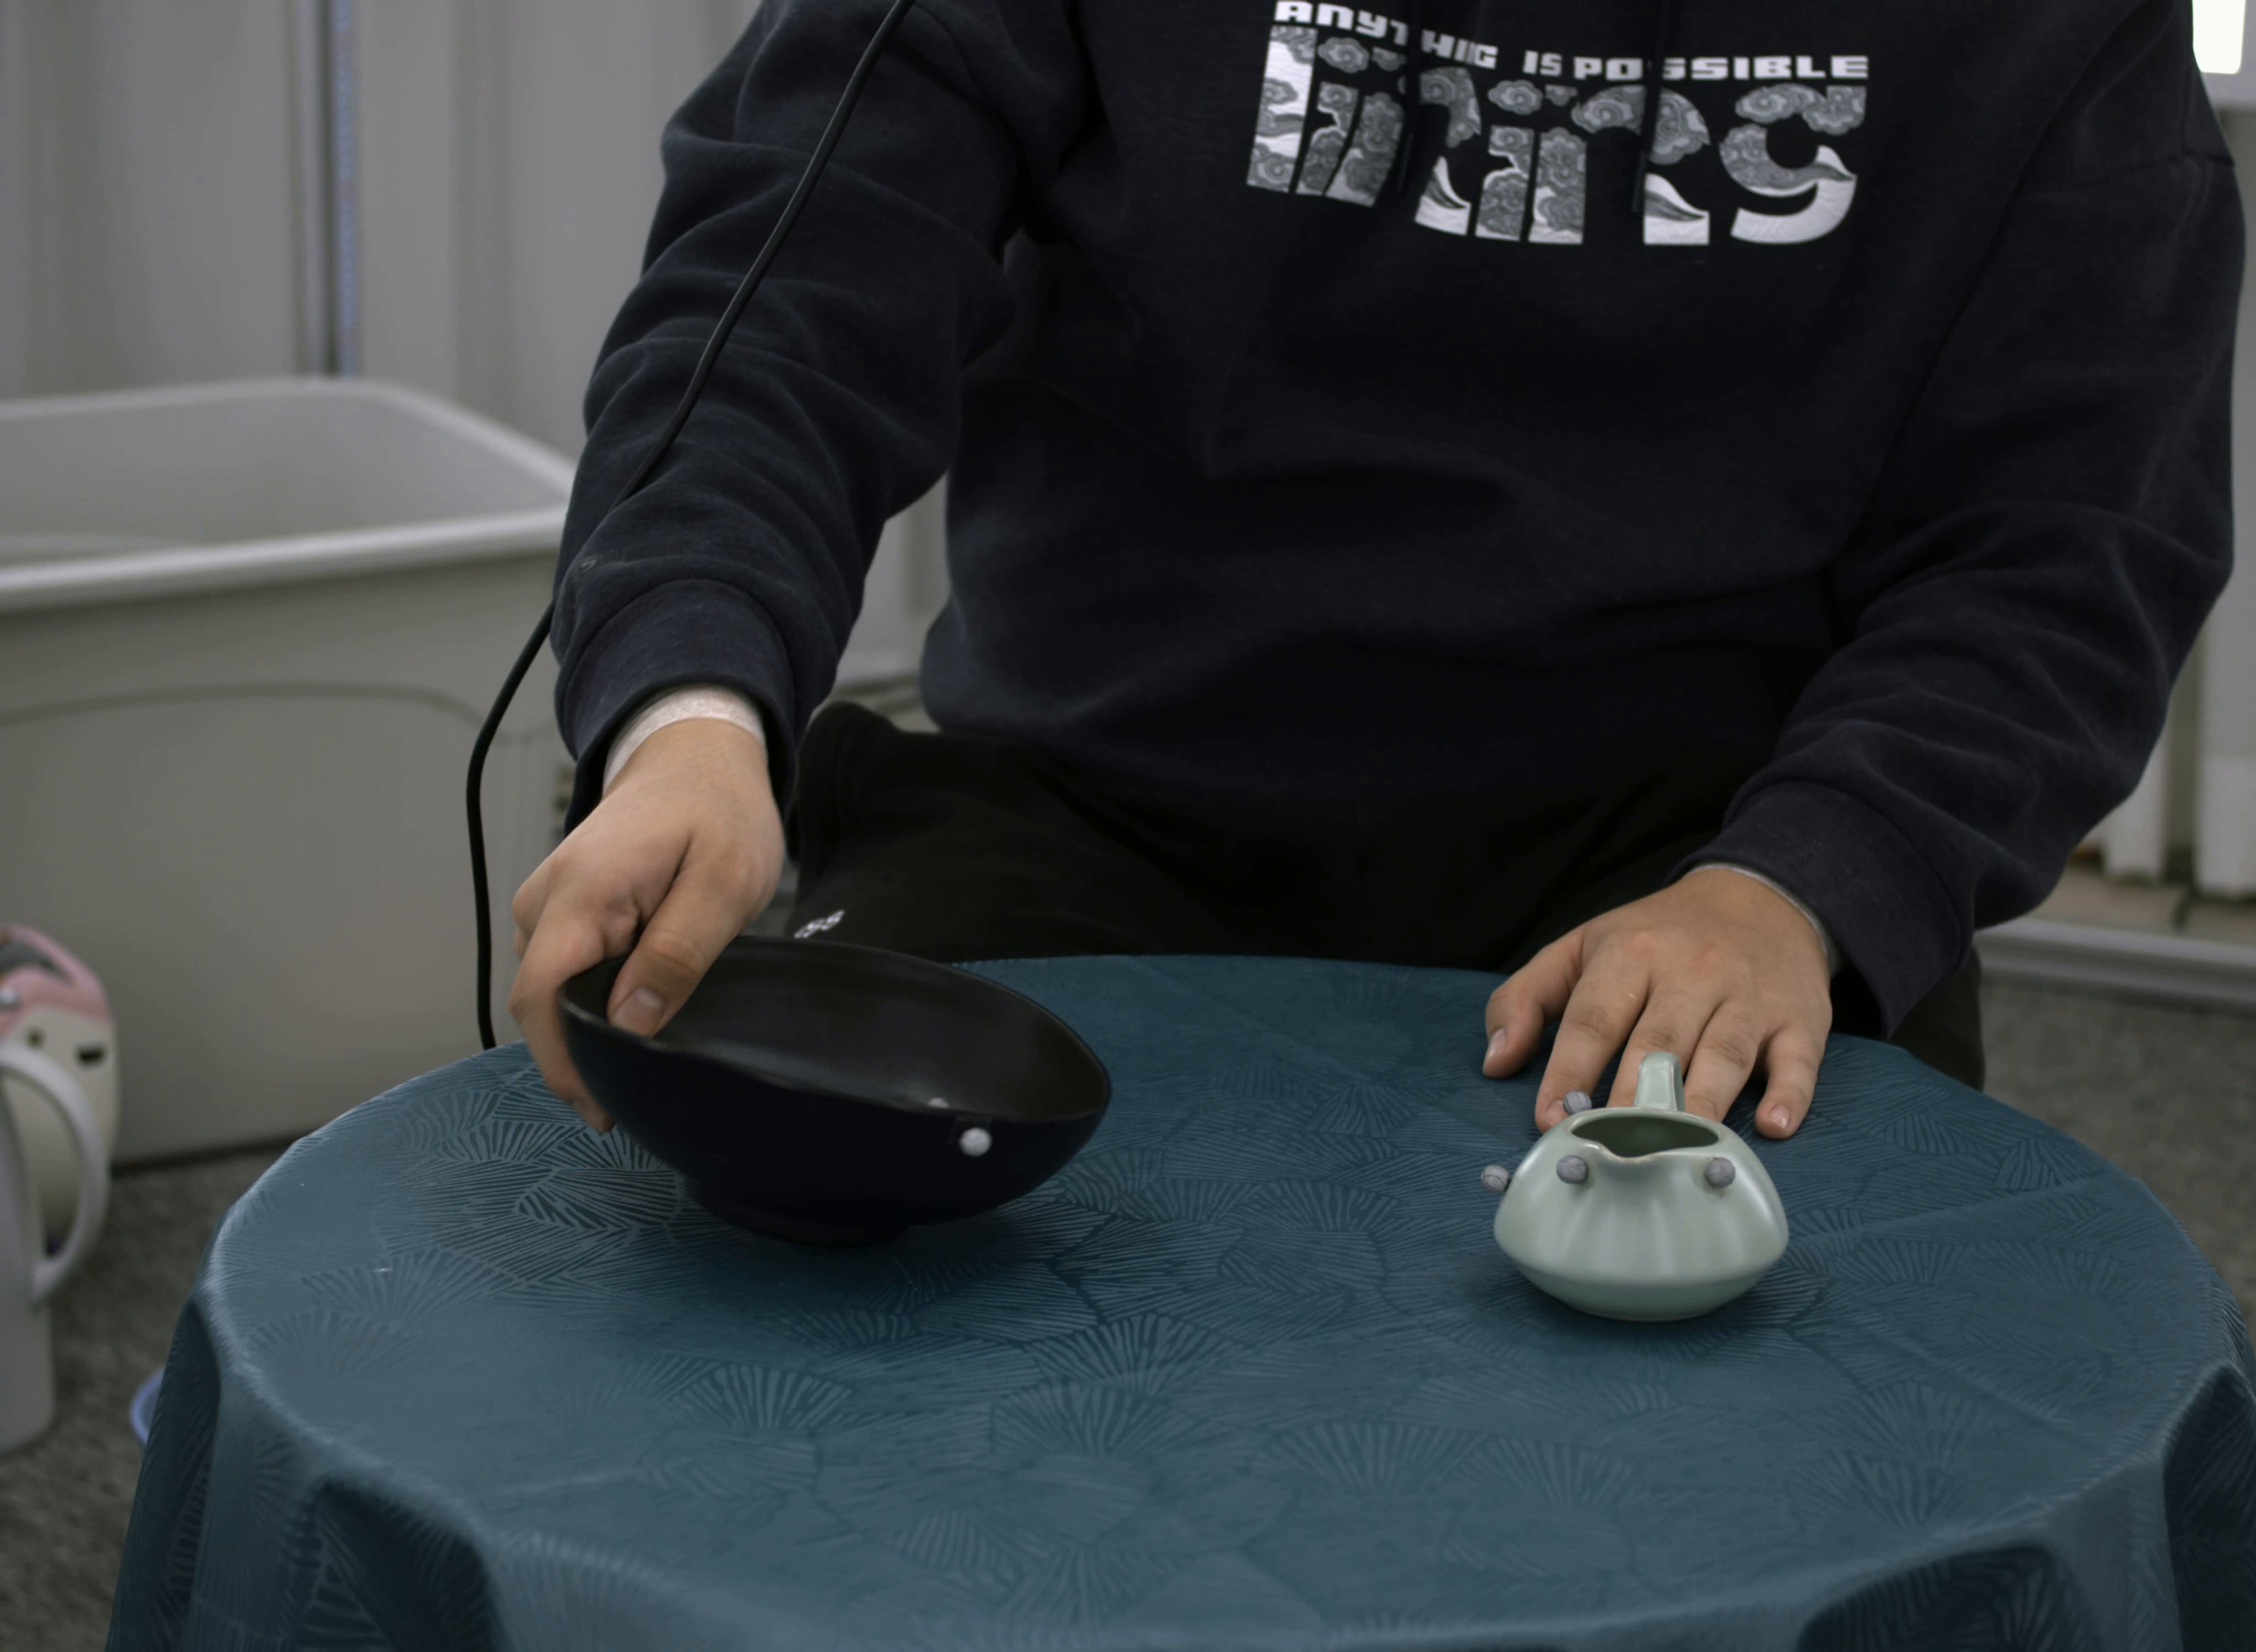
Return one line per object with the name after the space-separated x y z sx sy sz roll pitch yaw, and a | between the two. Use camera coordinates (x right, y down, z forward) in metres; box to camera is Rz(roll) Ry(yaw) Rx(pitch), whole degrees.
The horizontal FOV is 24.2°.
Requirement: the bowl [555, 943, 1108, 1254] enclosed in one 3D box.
-0.093 0.087 1.575 0.169 0.067 0.137 13 16 8 | bowl

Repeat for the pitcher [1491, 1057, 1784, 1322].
0.151 0.107 1.549 0.085 0.061 0.108 4 14 9 | pitcher
